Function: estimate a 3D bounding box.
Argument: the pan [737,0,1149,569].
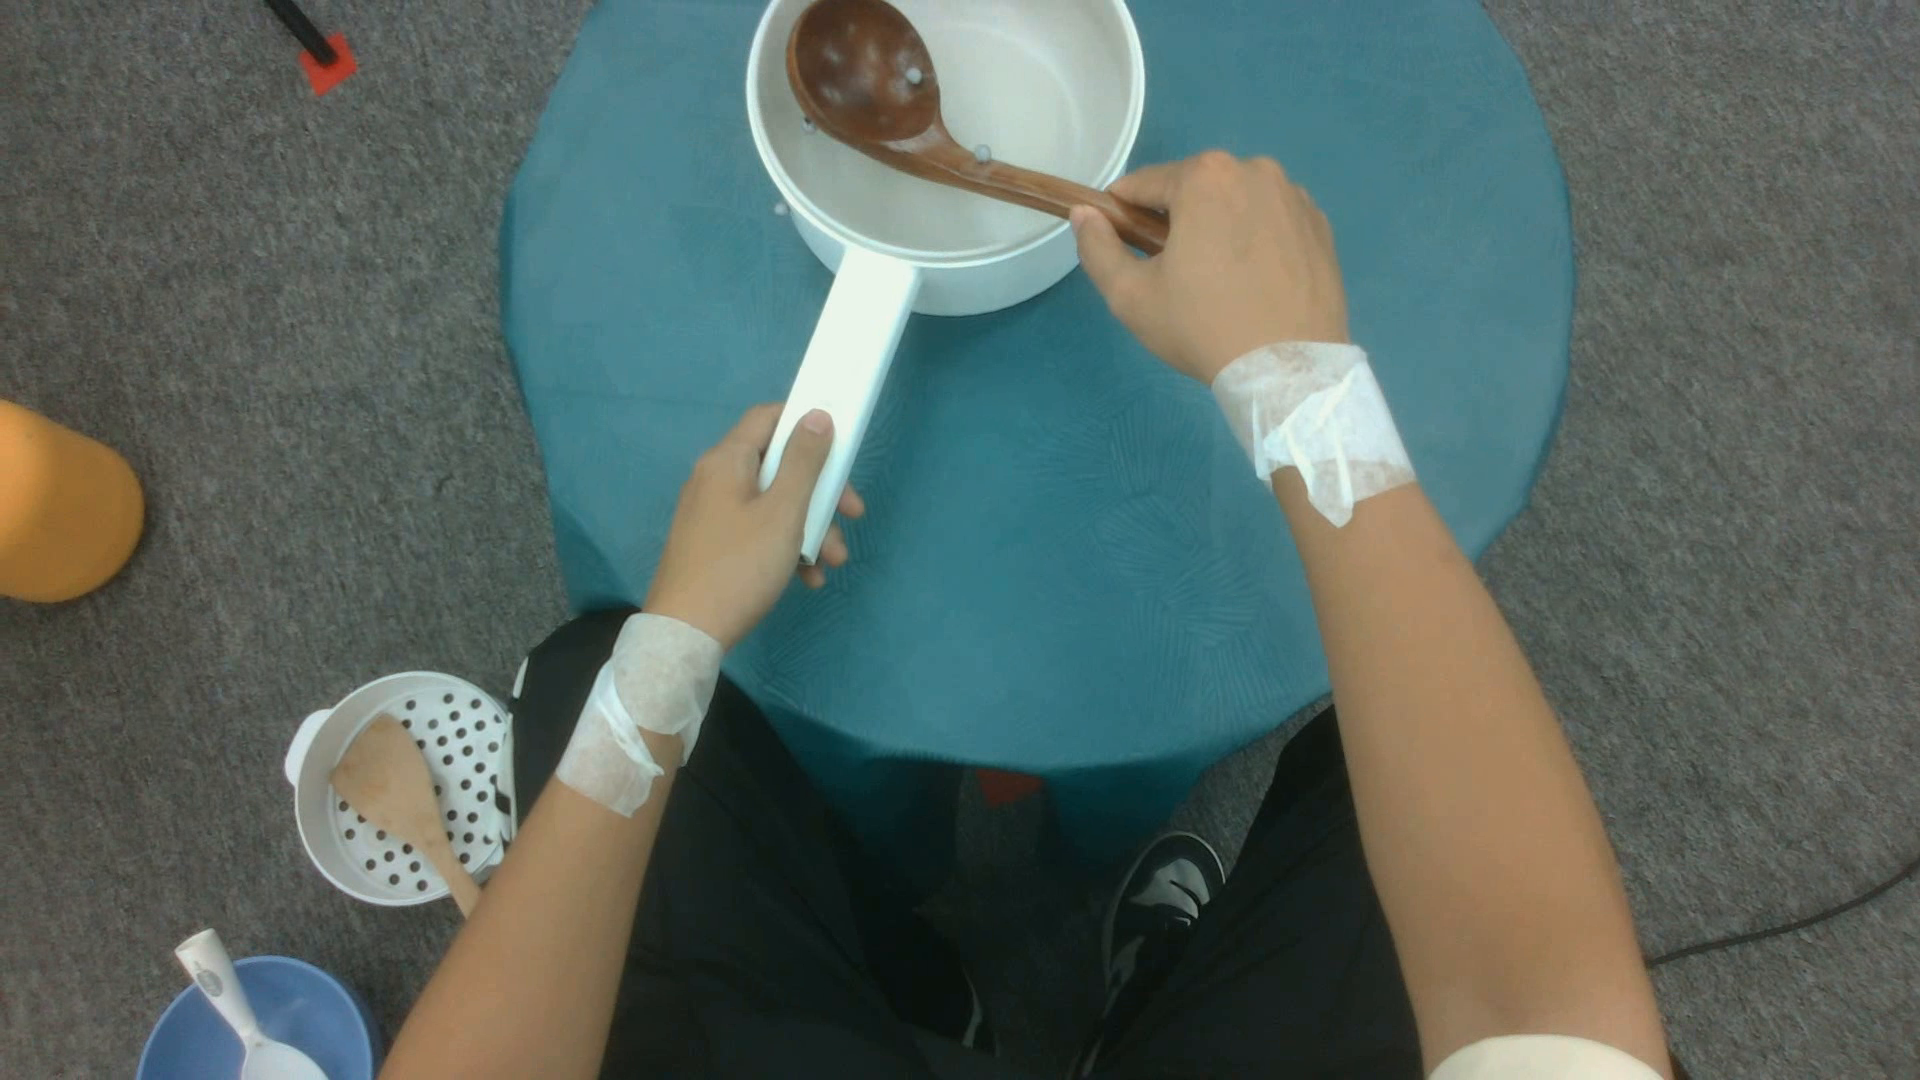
[{"bbox_3d":[-0.026,-0.147,0.742,0.201,0.102,0.355,19,78,7],"label":"pan"}]

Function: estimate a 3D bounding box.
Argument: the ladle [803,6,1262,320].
[{"bbox_3d":[0.029,-0.184,0.640,0.082,0.076,0.274,-37,48,-24],"label":"ladle"}]
